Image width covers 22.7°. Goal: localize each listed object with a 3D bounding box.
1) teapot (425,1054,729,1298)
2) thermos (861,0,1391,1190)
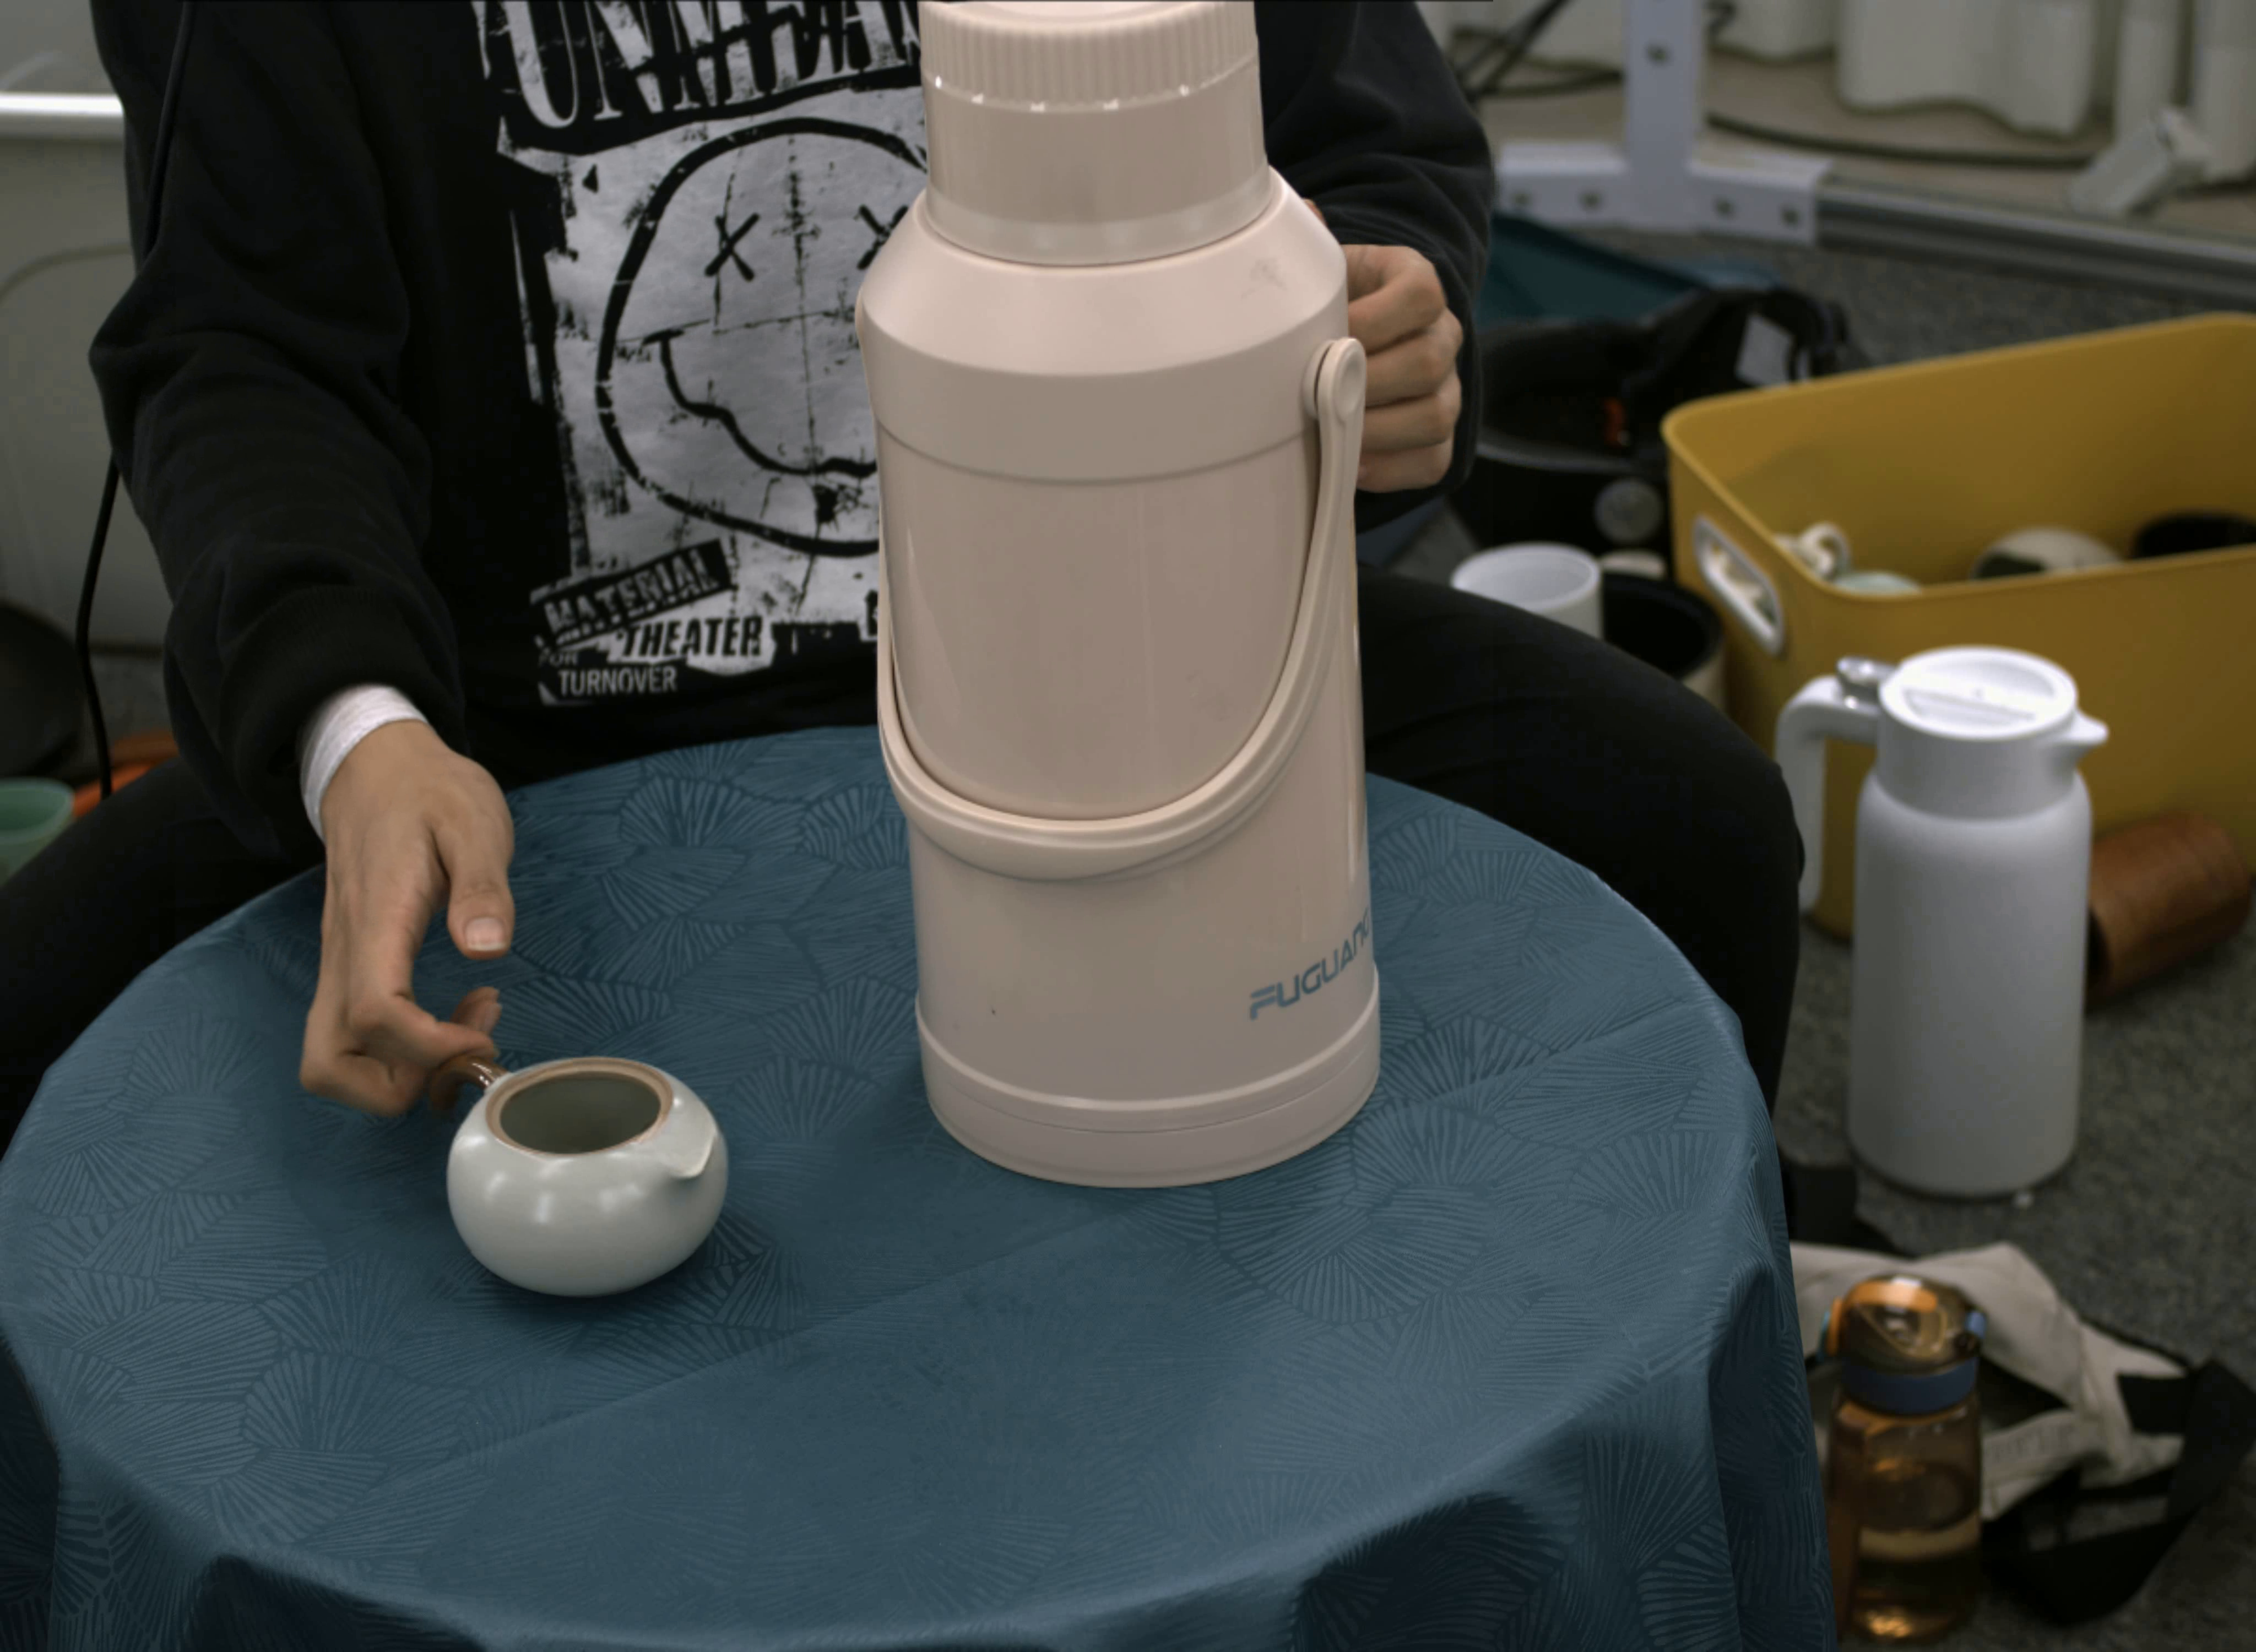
[{"bbox_3d":[-0.183,0.112,1.832,0.127,0.059,0.093,19,37,34],"label":"teapot"},{"bbox_3d":[0.007,-0.097,1.855,0.174,0.402,0.210,9,29,26],"label":"thermos"}]
